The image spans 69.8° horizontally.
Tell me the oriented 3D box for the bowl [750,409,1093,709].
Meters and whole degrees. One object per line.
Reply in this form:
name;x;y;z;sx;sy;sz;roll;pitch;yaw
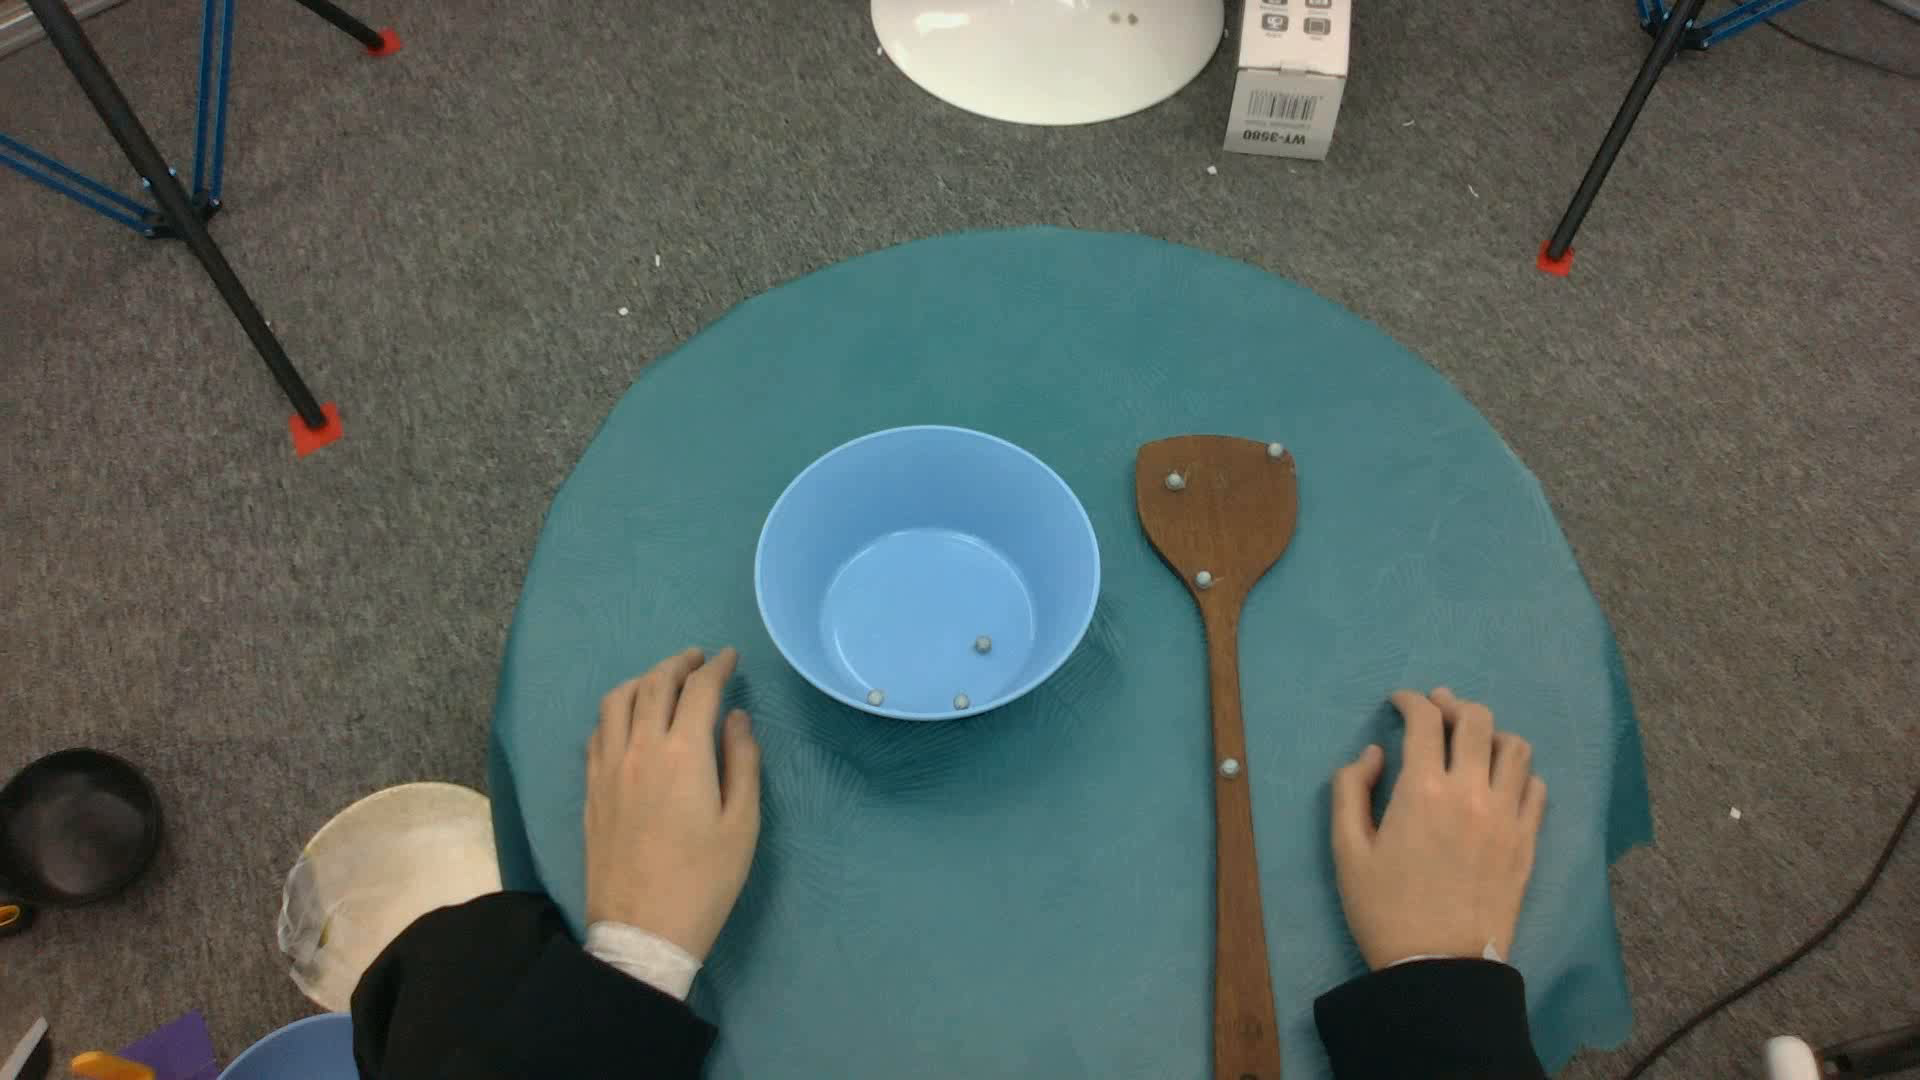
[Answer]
bowl;-0.020;0.020;0.728;0.176;0.070;0.177;1;59;-1

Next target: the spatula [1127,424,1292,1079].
spatula;0.138;0.096;0.717;0.096;0.016;0.387;3;57;1
